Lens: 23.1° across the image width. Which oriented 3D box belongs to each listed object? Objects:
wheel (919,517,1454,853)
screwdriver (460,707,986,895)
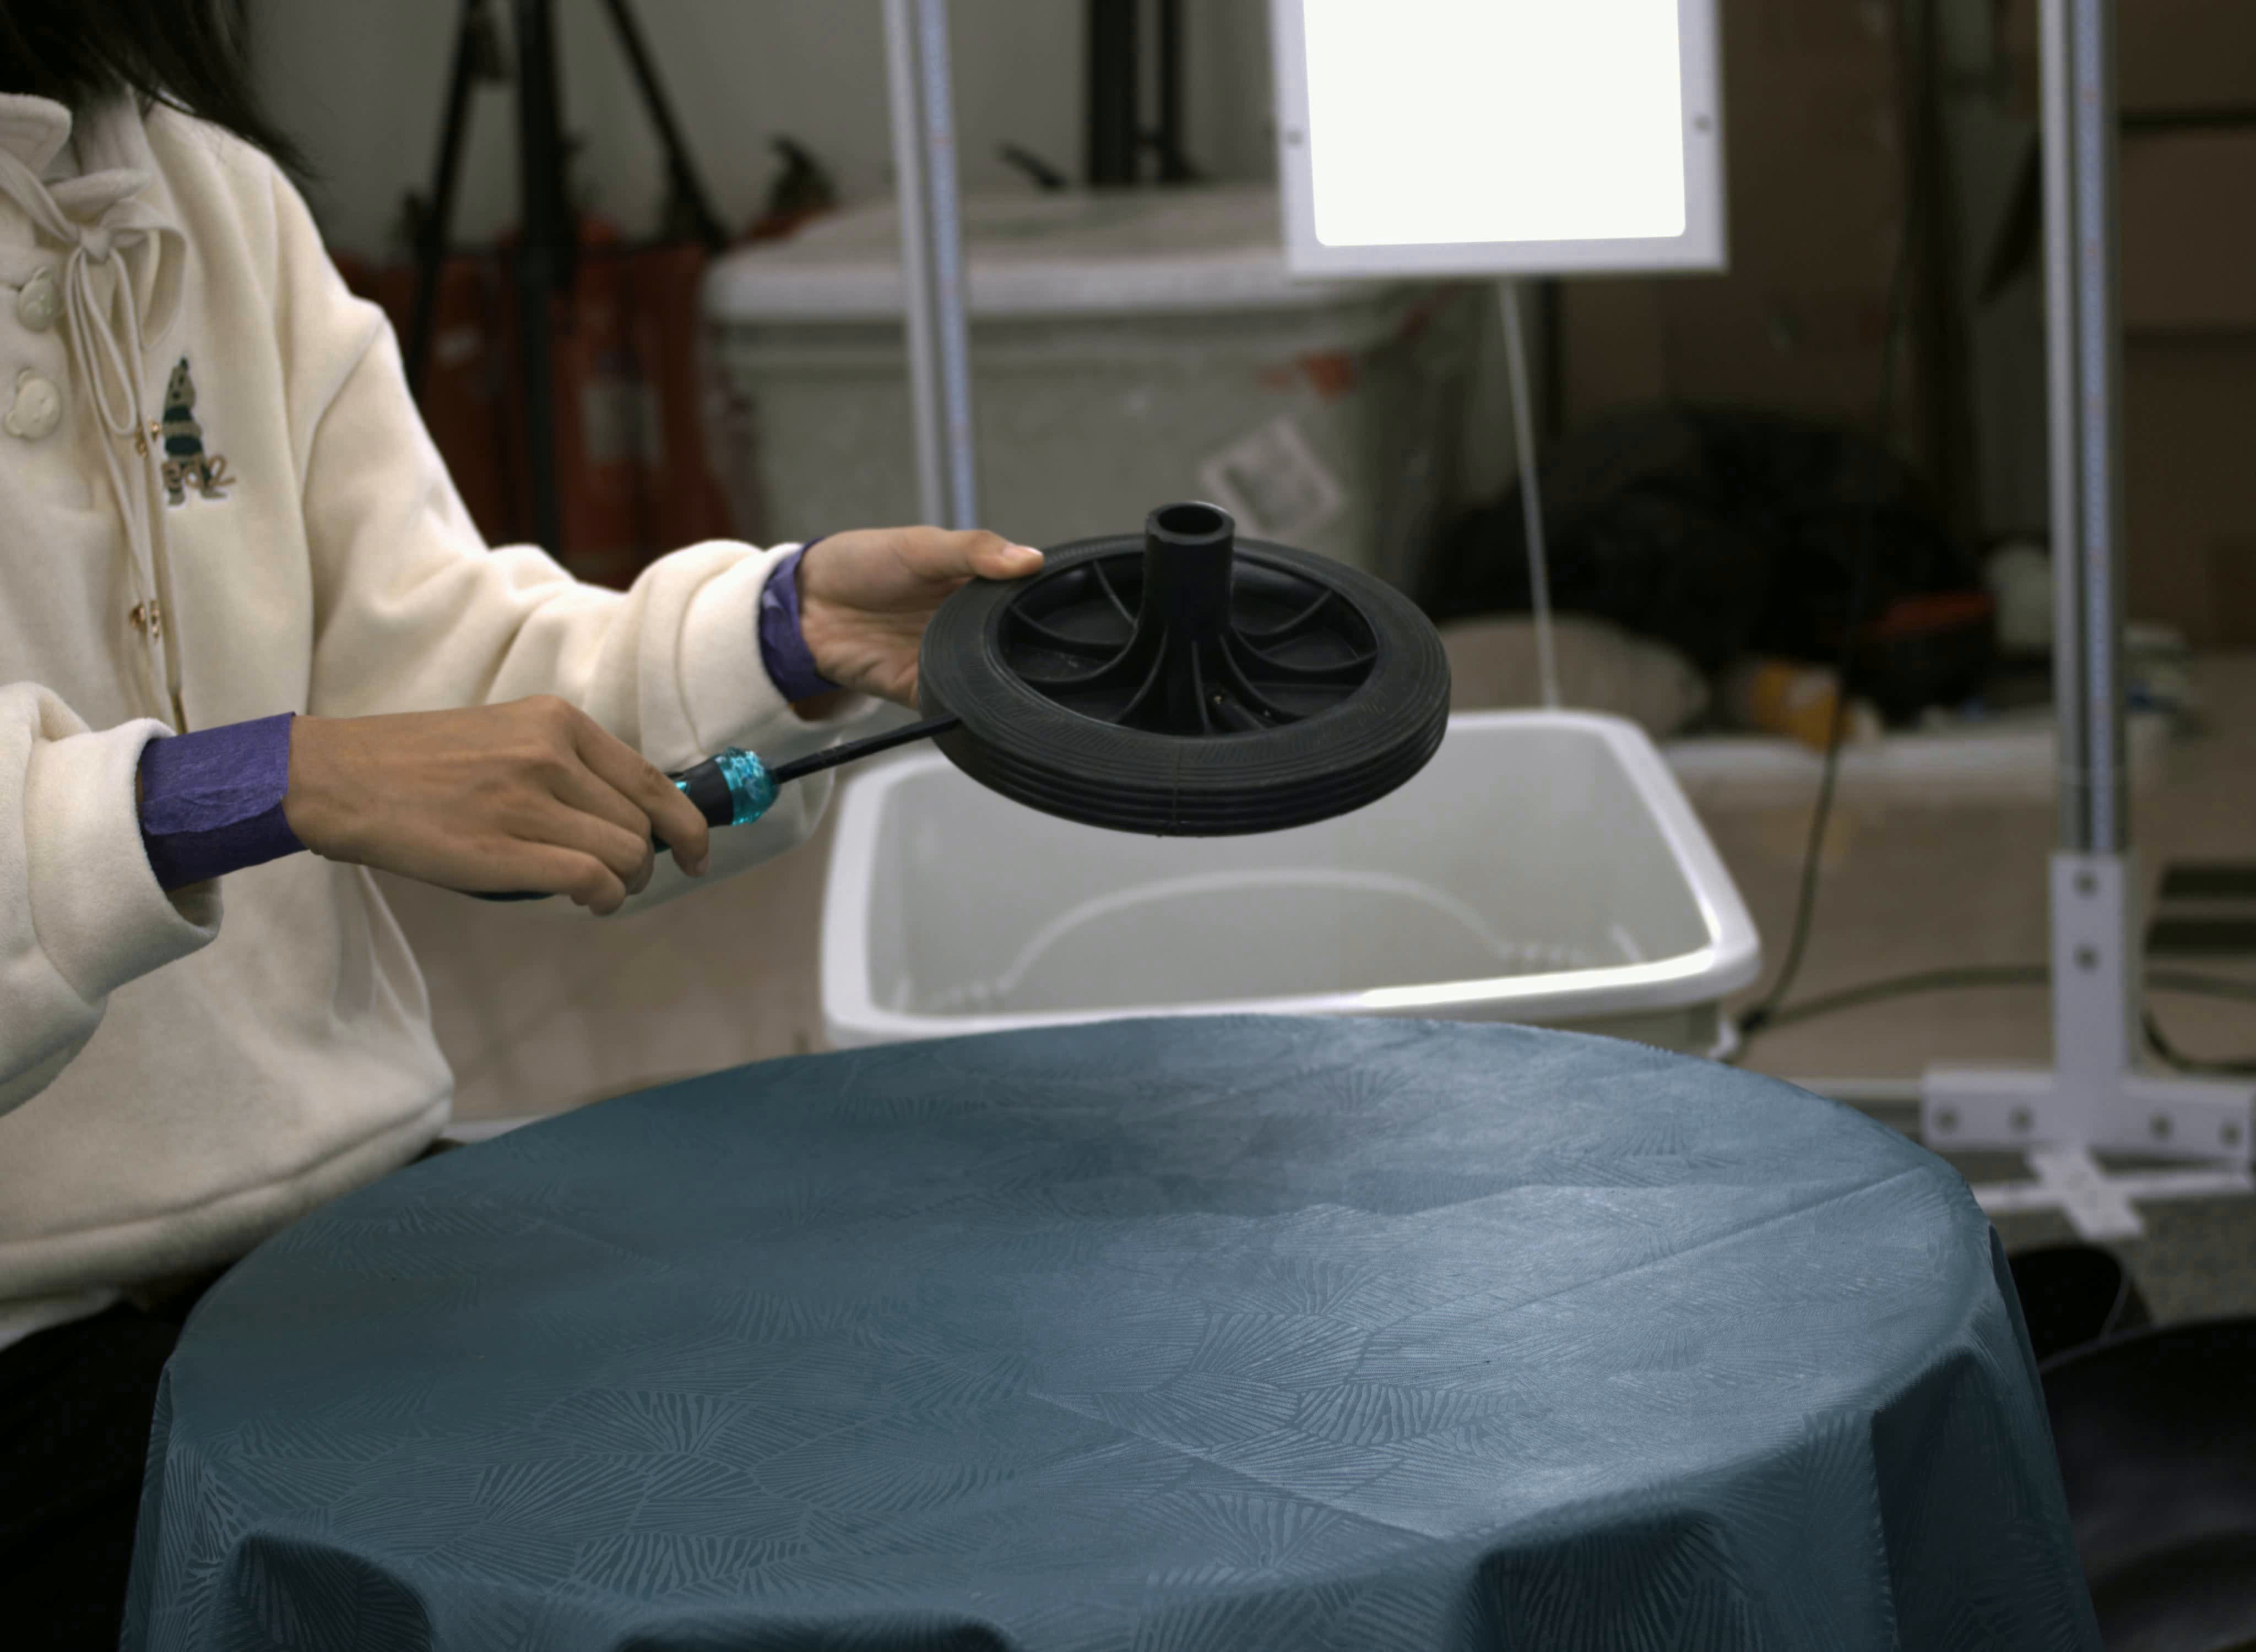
[{"bbox_3d":[0.022,-0.066,1.924,0.193,0.080,0.183,25,39,31],"label":"wheel"},{"bbox_3d":[-0.133,-0.012,1.855,0.186,0.034,0.034,-16,17,-20],"label":"screwdriver"}]
